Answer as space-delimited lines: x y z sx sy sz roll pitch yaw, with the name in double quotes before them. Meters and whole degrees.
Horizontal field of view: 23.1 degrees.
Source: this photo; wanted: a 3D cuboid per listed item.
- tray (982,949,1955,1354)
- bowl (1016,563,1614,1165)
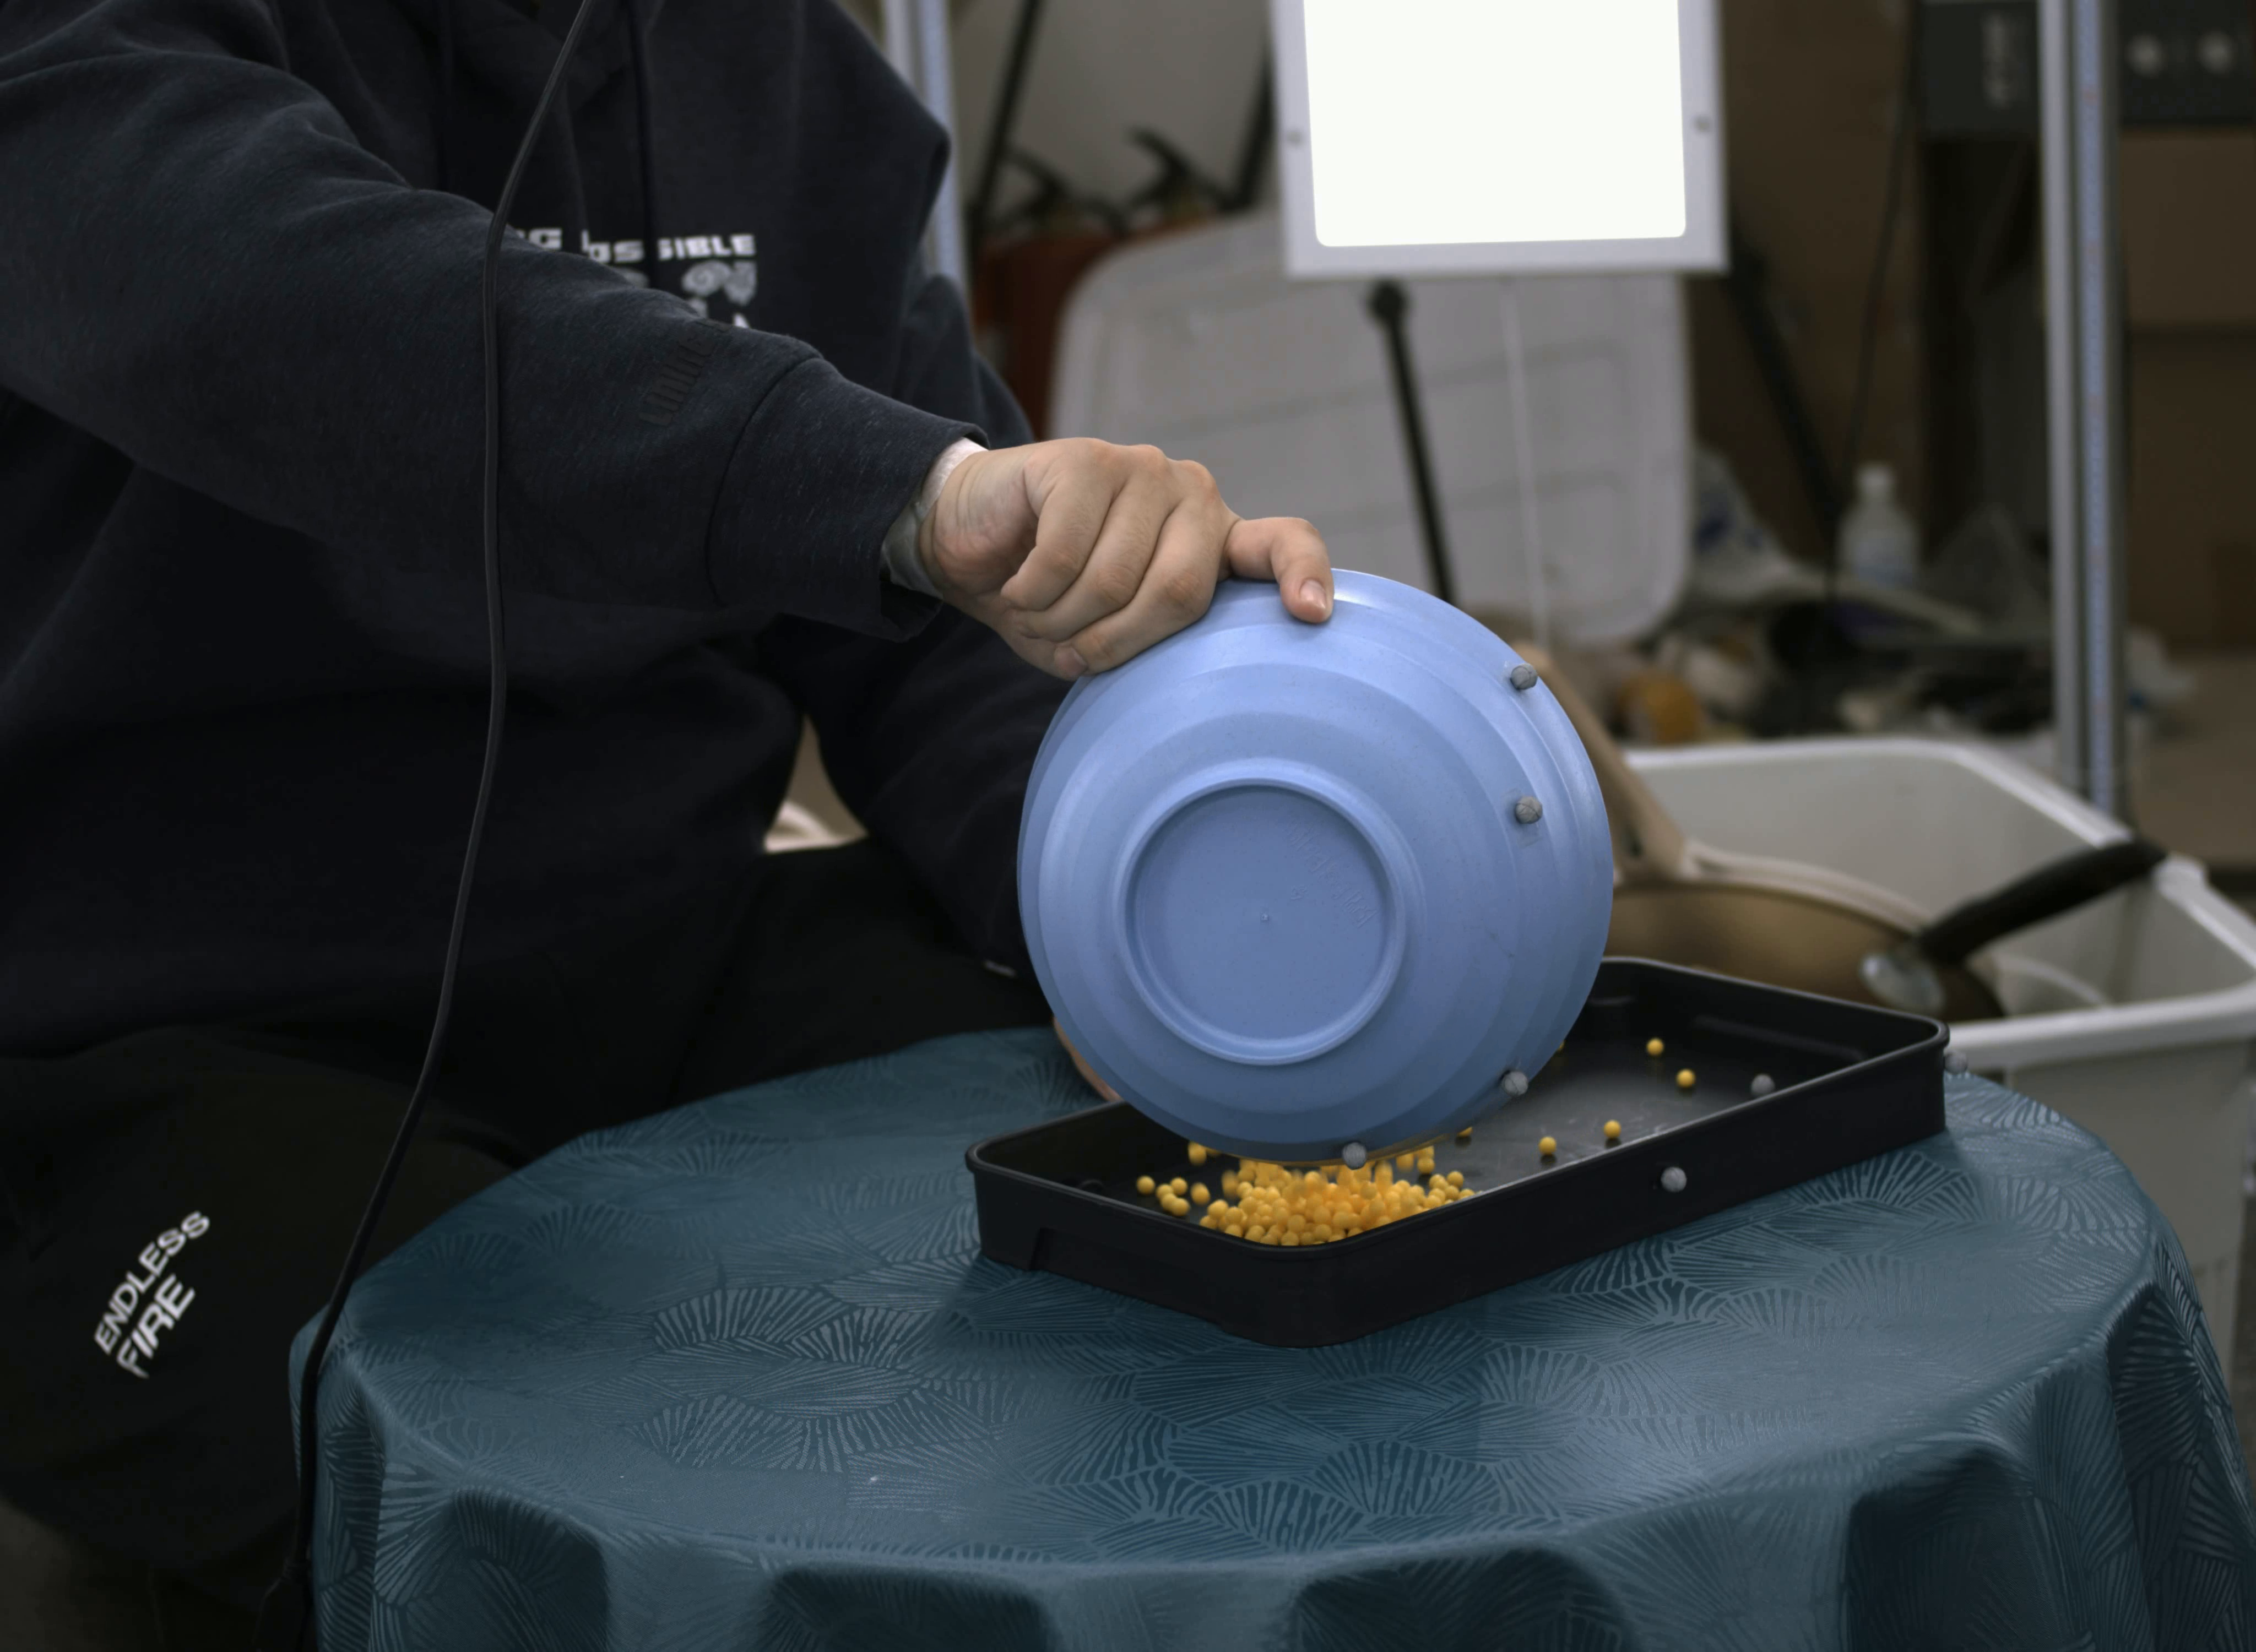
"tray" 0.121 0.105 1.873 0.310 0.037 0.188 -17 17 -37
"bowl" 0.050 0.020 1.732 0.198 0.197 0.094 -1 10 16
